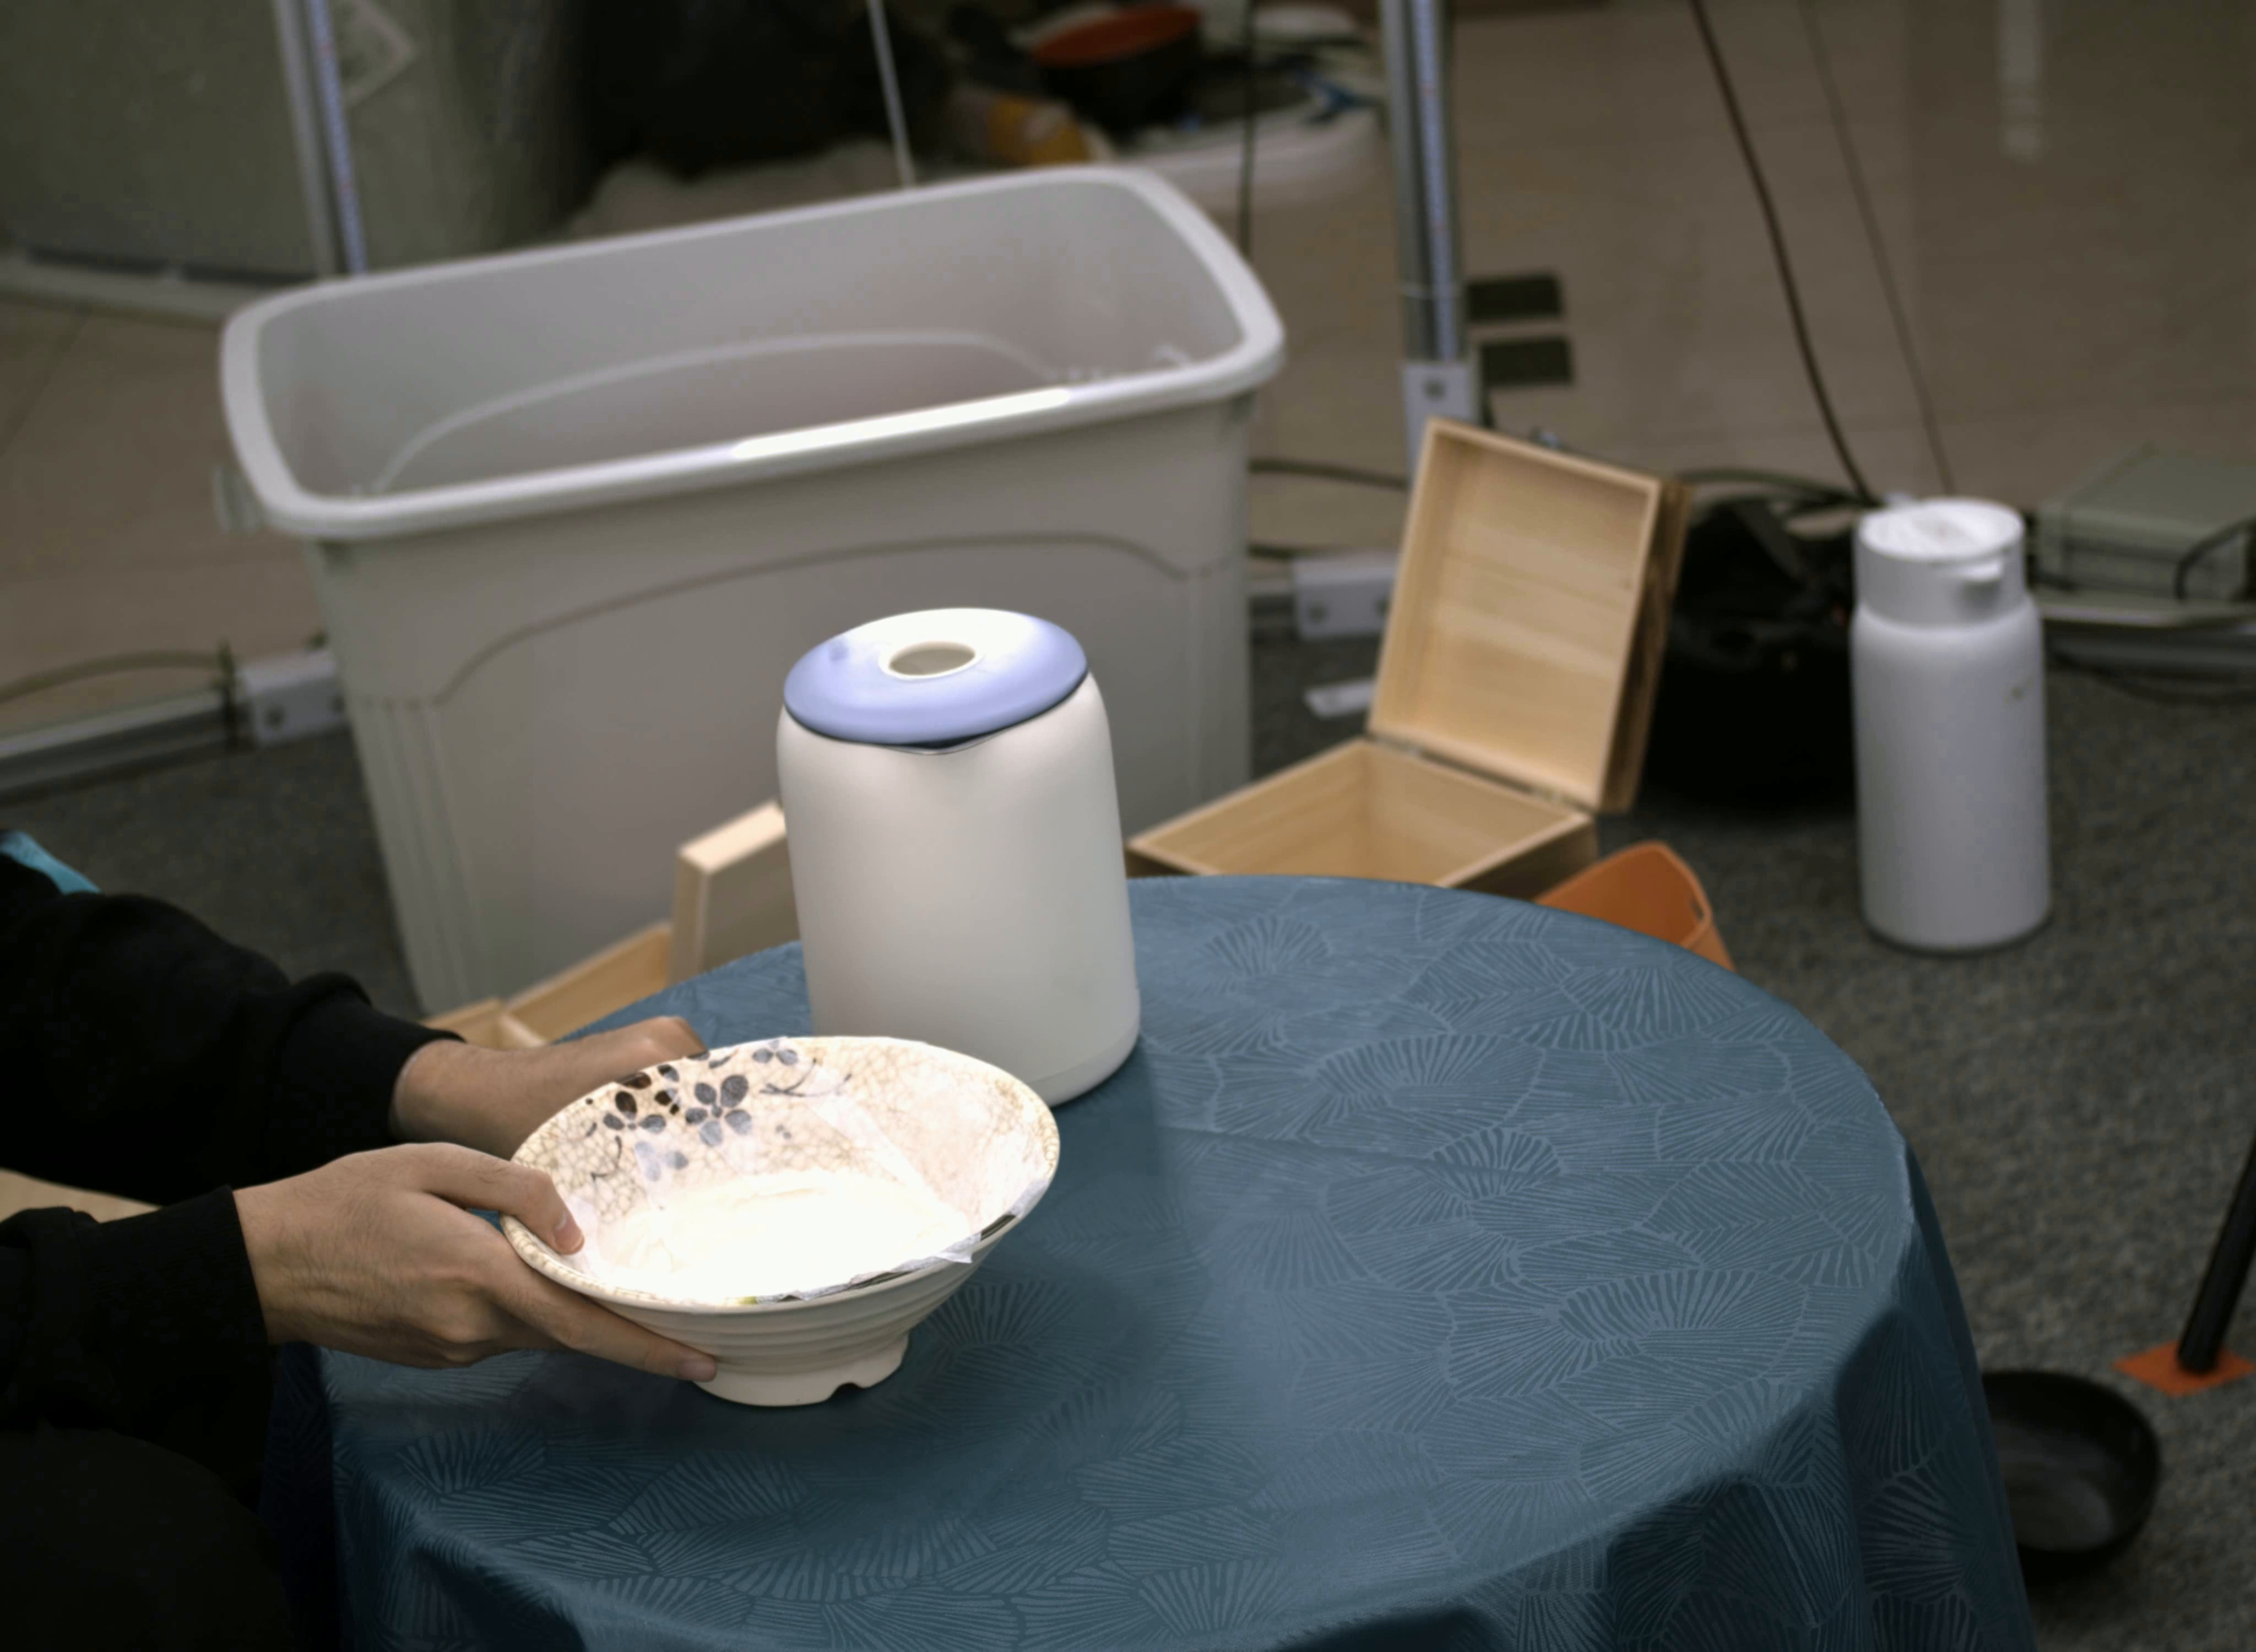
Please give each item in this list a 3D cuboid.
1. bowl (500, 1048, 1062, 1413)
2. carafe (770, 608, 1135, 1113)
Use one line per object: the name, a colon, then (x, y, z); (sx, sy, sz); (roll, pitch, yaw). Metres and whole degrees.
bowl: (-0.120, 0.157, 2.045); (0.204, 0.079, 0.201); (-7, 23, 3)
carafe: (-0.071, 0.006, 2.242); (0.132, 0.185, 0.188); (-7, 23, -4)
